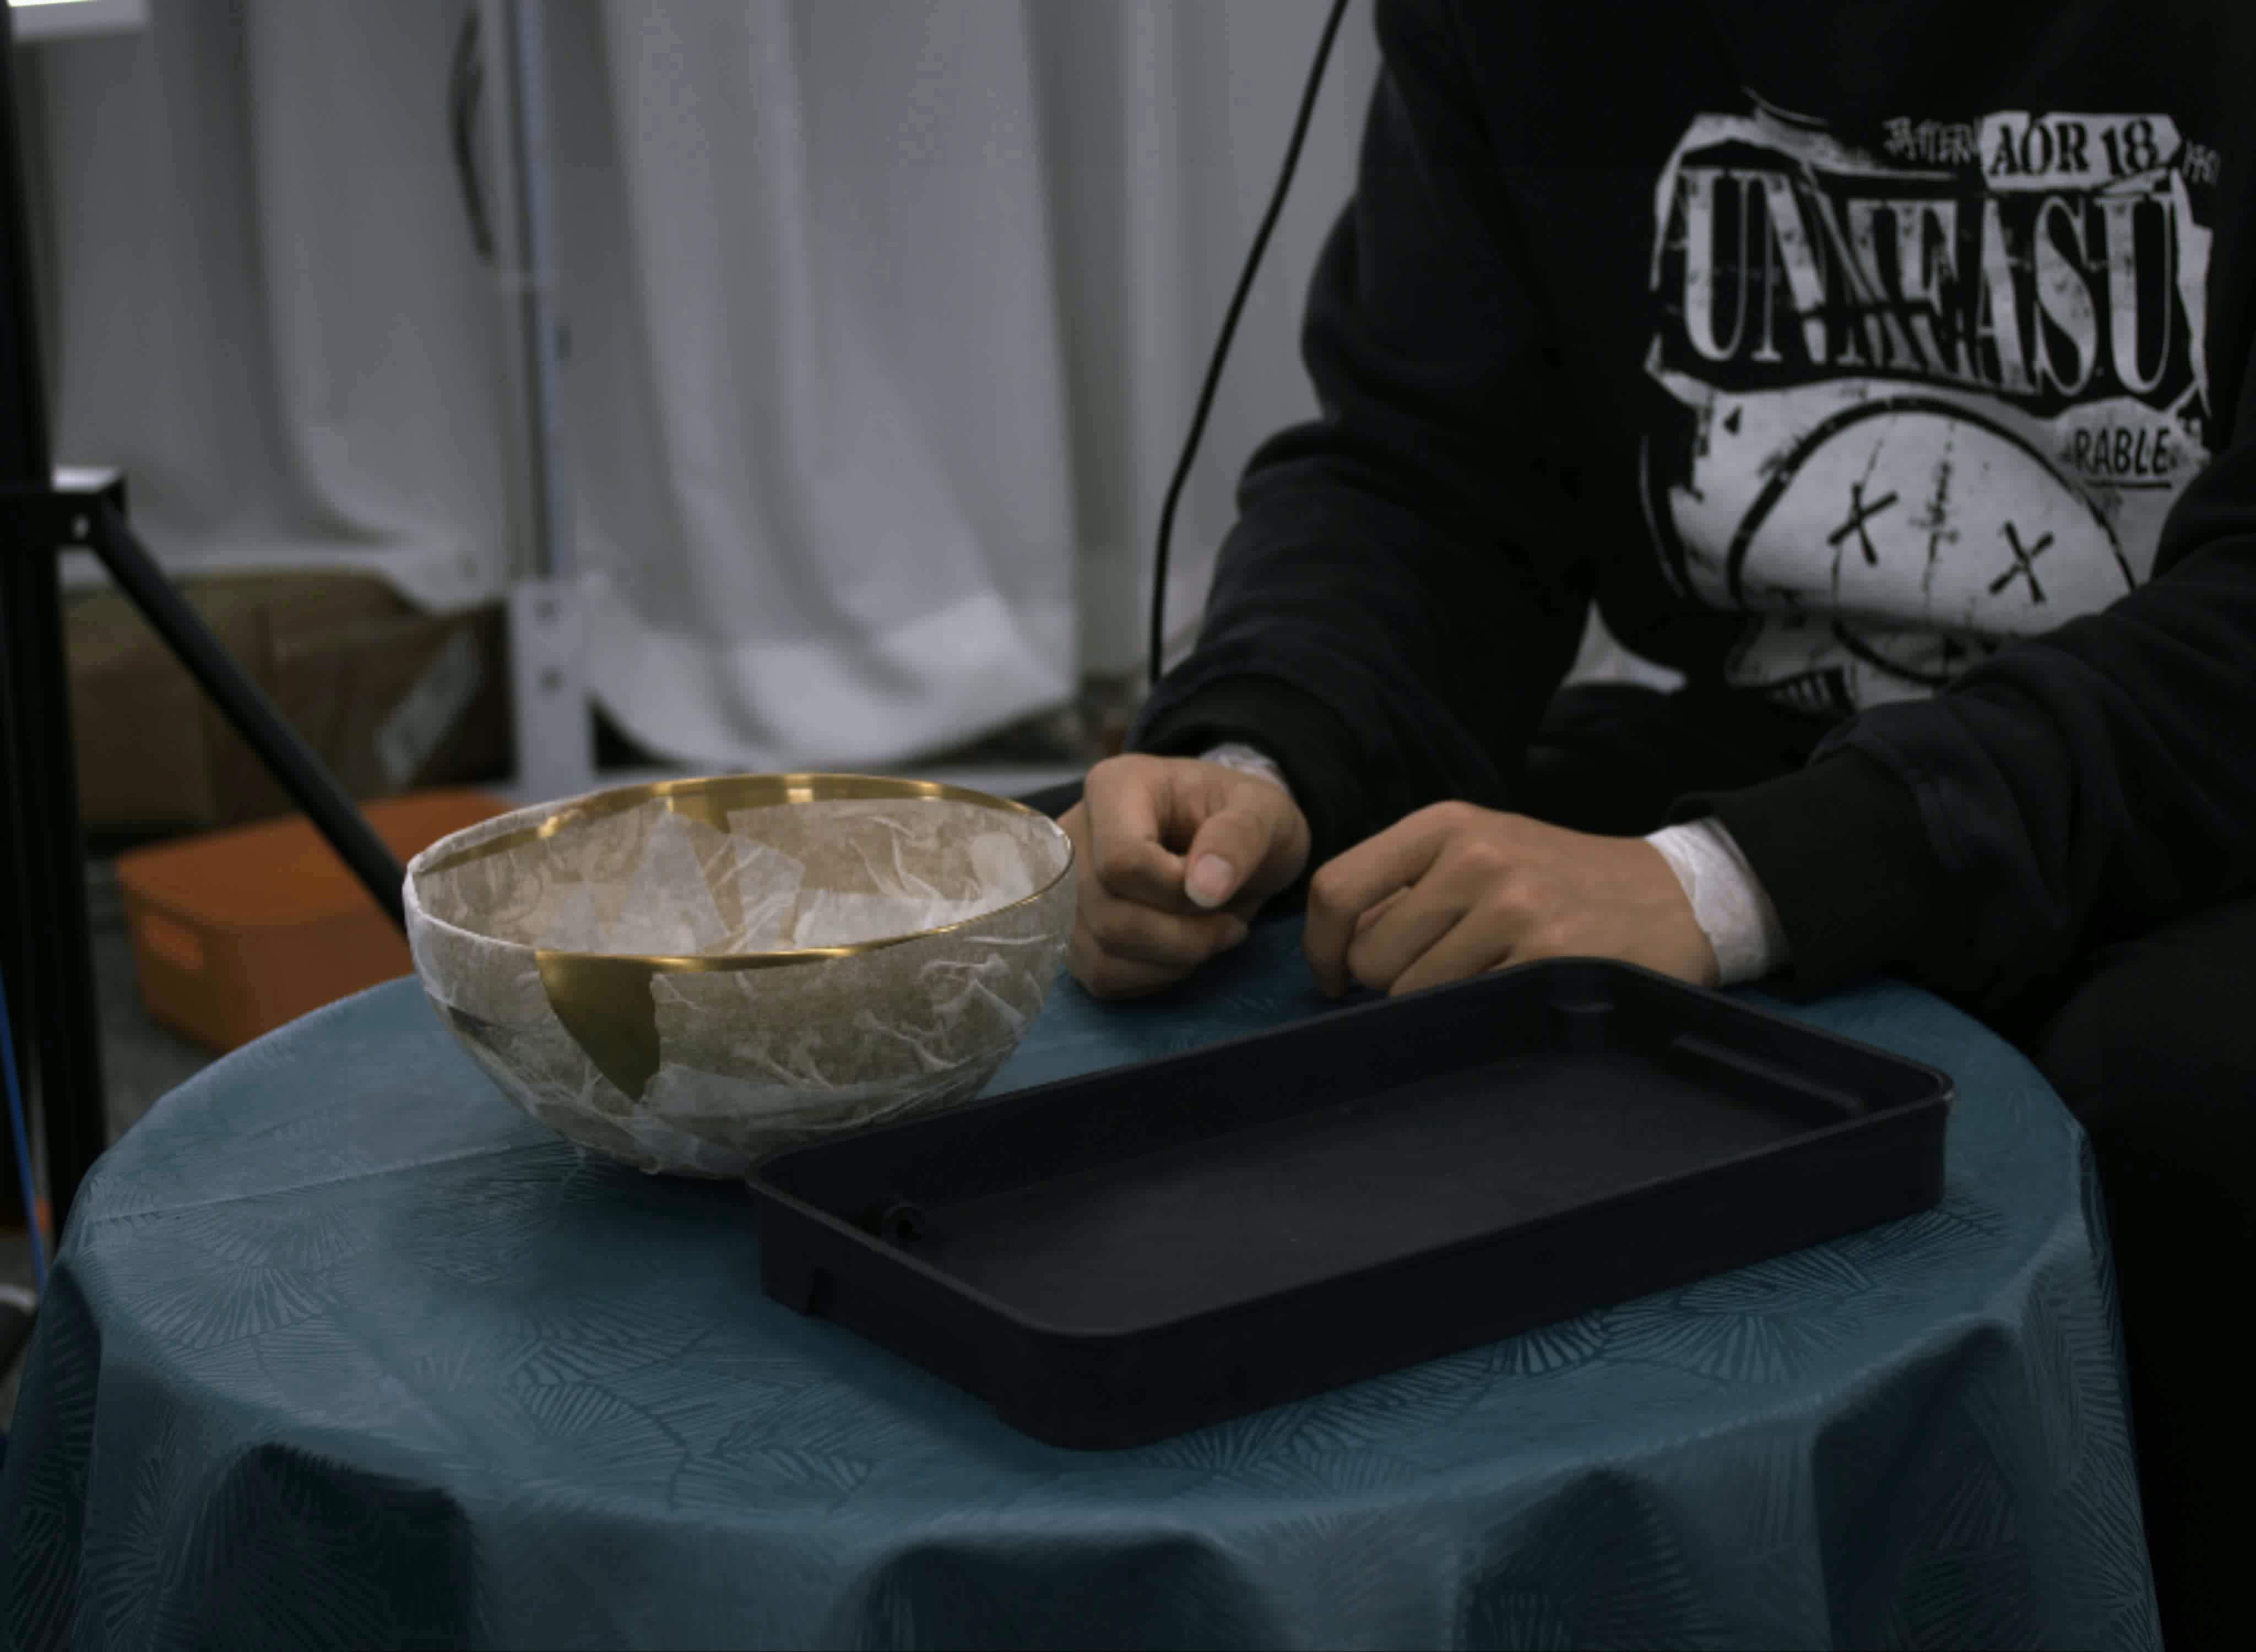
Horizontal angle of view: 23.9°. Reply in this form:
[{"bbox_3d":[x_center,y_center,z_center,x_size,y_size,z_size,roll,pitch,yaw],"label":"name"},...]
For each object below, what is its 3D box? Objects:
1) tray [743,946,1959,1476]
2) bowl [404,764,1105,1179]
[{"bbox_3d":[0.065,0.103,1.506,0.311,0.037,0.188,-13,20,-29],"label":"tray"},{"bbox_3d":[-0.110,0.052,1.602,0.213,0.094,0.216,-3,14,-1],"label":"bowl"}]
